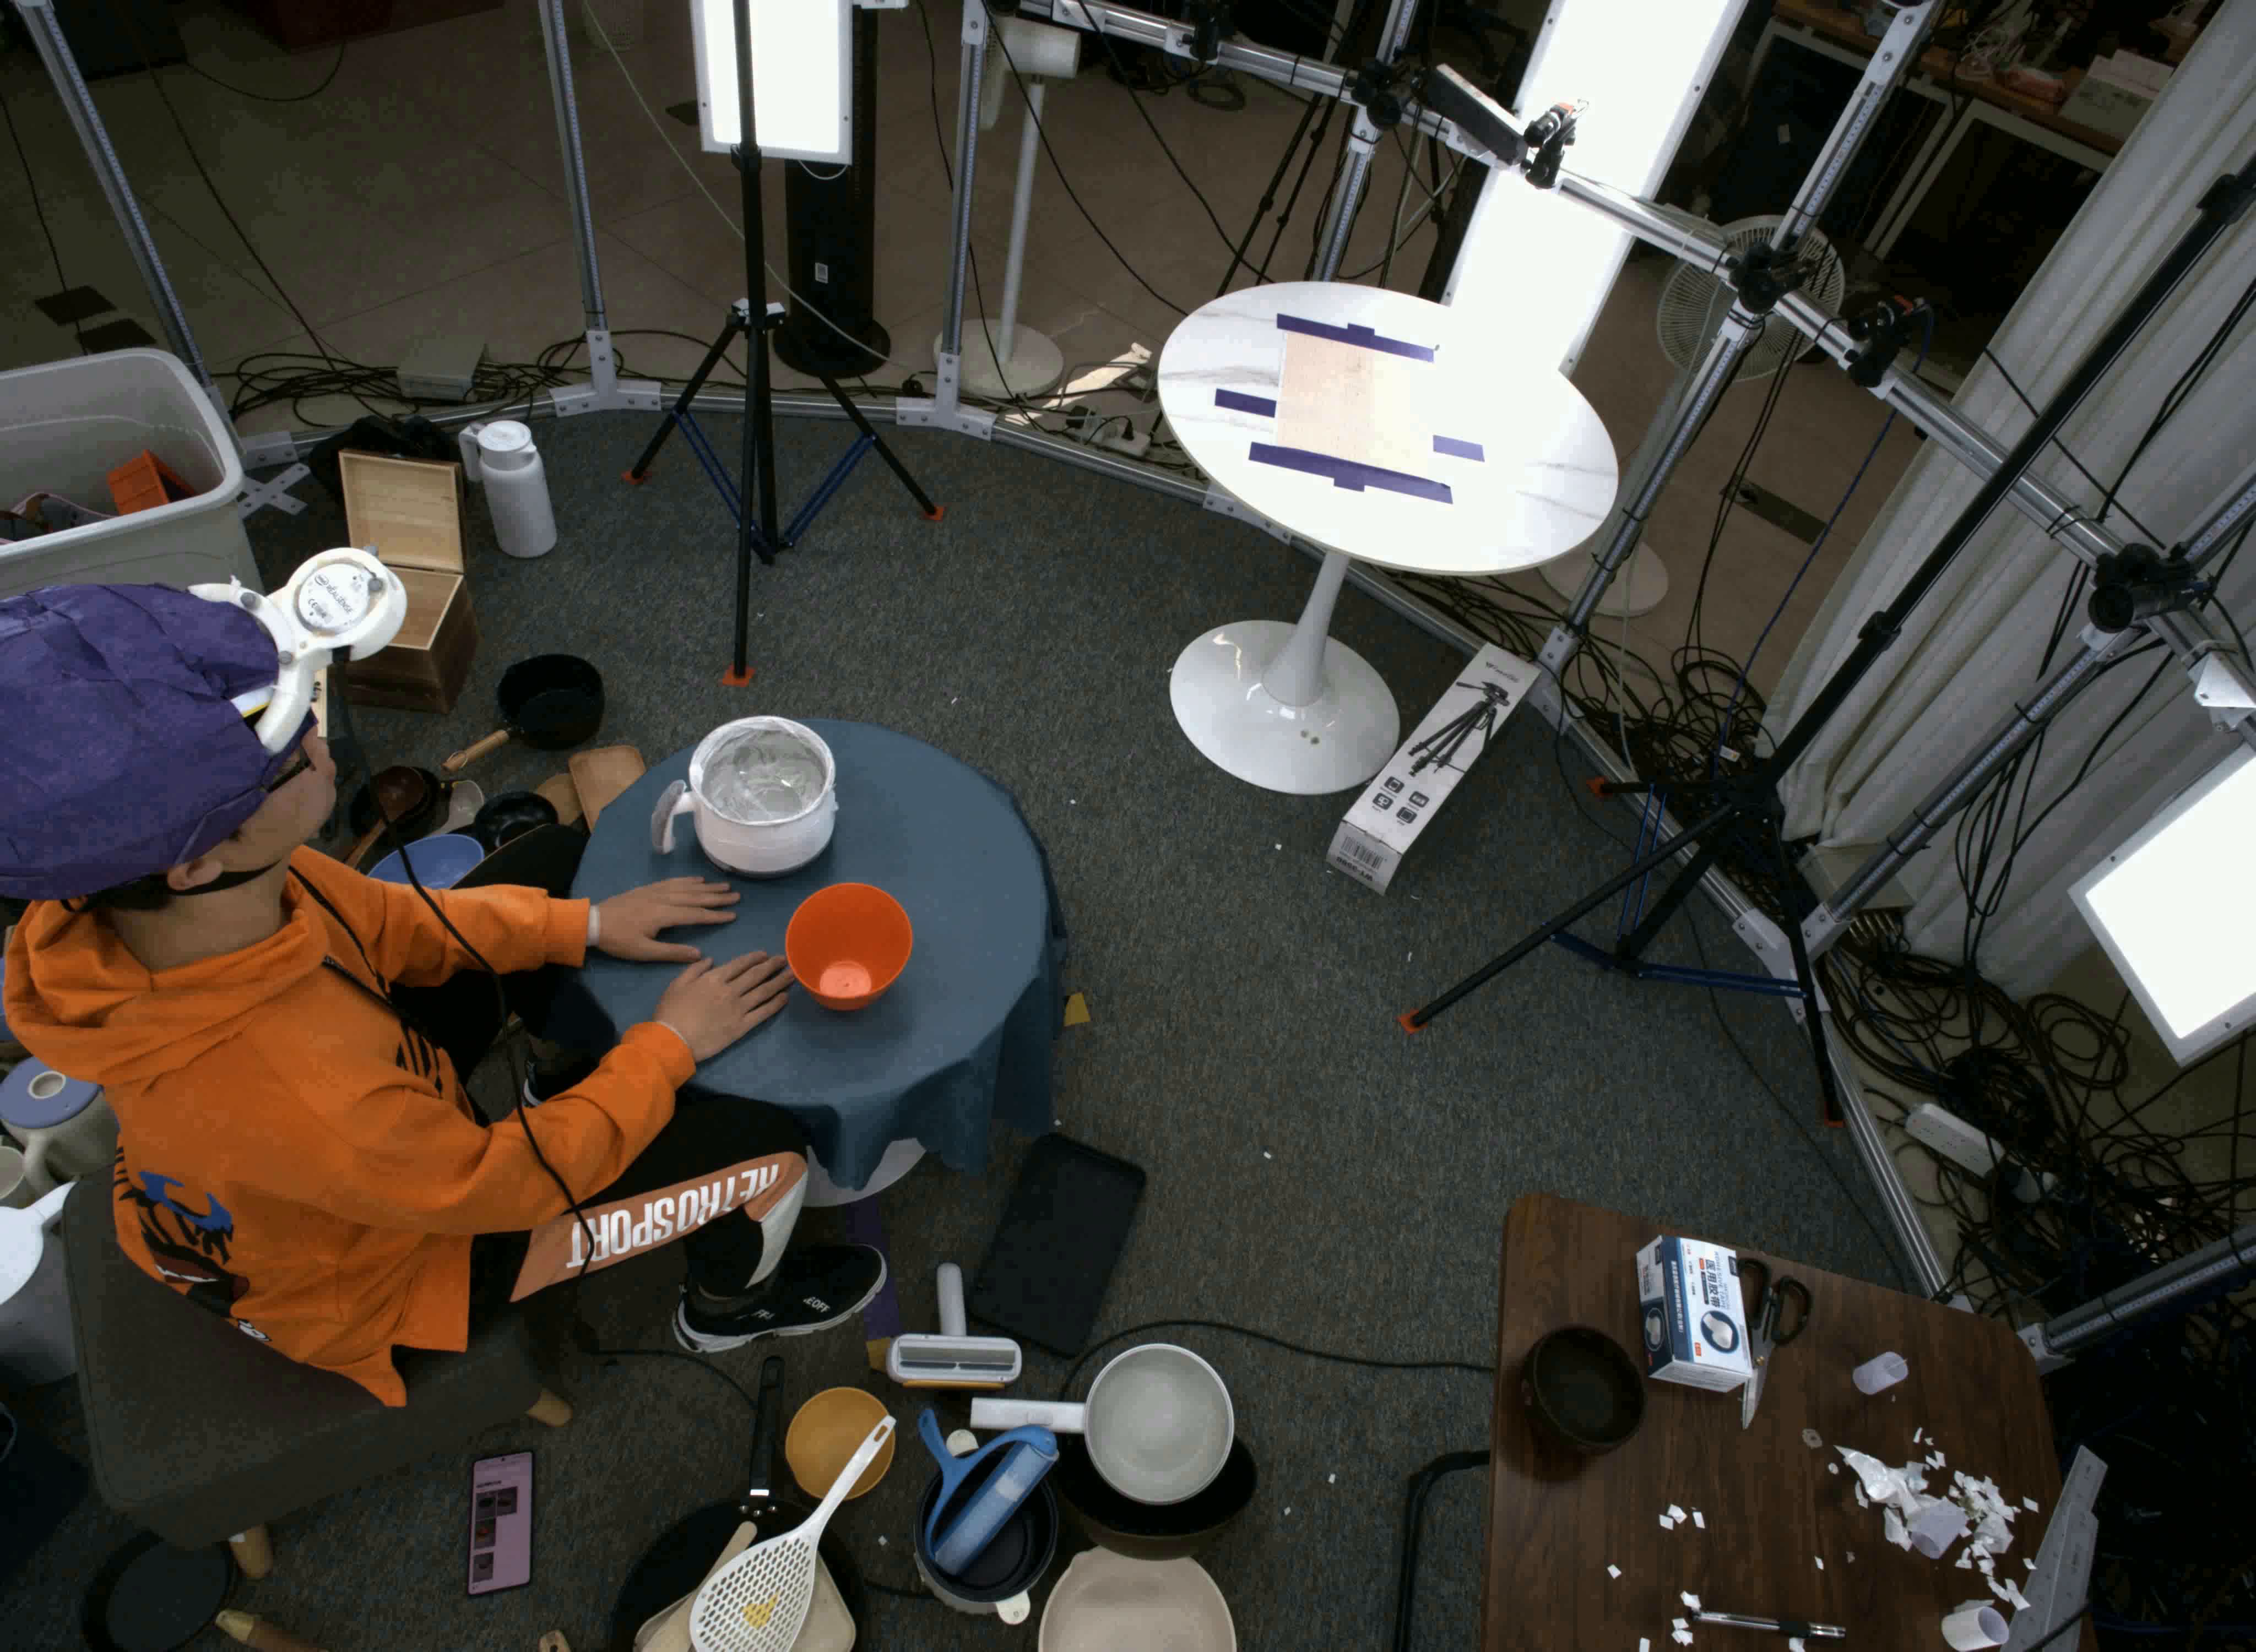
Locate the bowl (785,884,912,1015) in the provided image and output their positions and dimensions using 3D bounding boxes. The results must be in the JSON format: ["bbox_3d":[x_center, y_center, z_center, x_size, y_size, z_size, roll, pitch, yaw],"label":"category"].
[{"bbox_3d":[-0.334,0.159,1.557,0.147,0.107,0.145,7,54,-8],"label":"bowl"}]

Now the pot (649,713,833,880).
[{"bbox_3d":[-0.488,-0.028,1.628,0.235,0.139,0.174,-14,57,-24],"label":"pot"}]
